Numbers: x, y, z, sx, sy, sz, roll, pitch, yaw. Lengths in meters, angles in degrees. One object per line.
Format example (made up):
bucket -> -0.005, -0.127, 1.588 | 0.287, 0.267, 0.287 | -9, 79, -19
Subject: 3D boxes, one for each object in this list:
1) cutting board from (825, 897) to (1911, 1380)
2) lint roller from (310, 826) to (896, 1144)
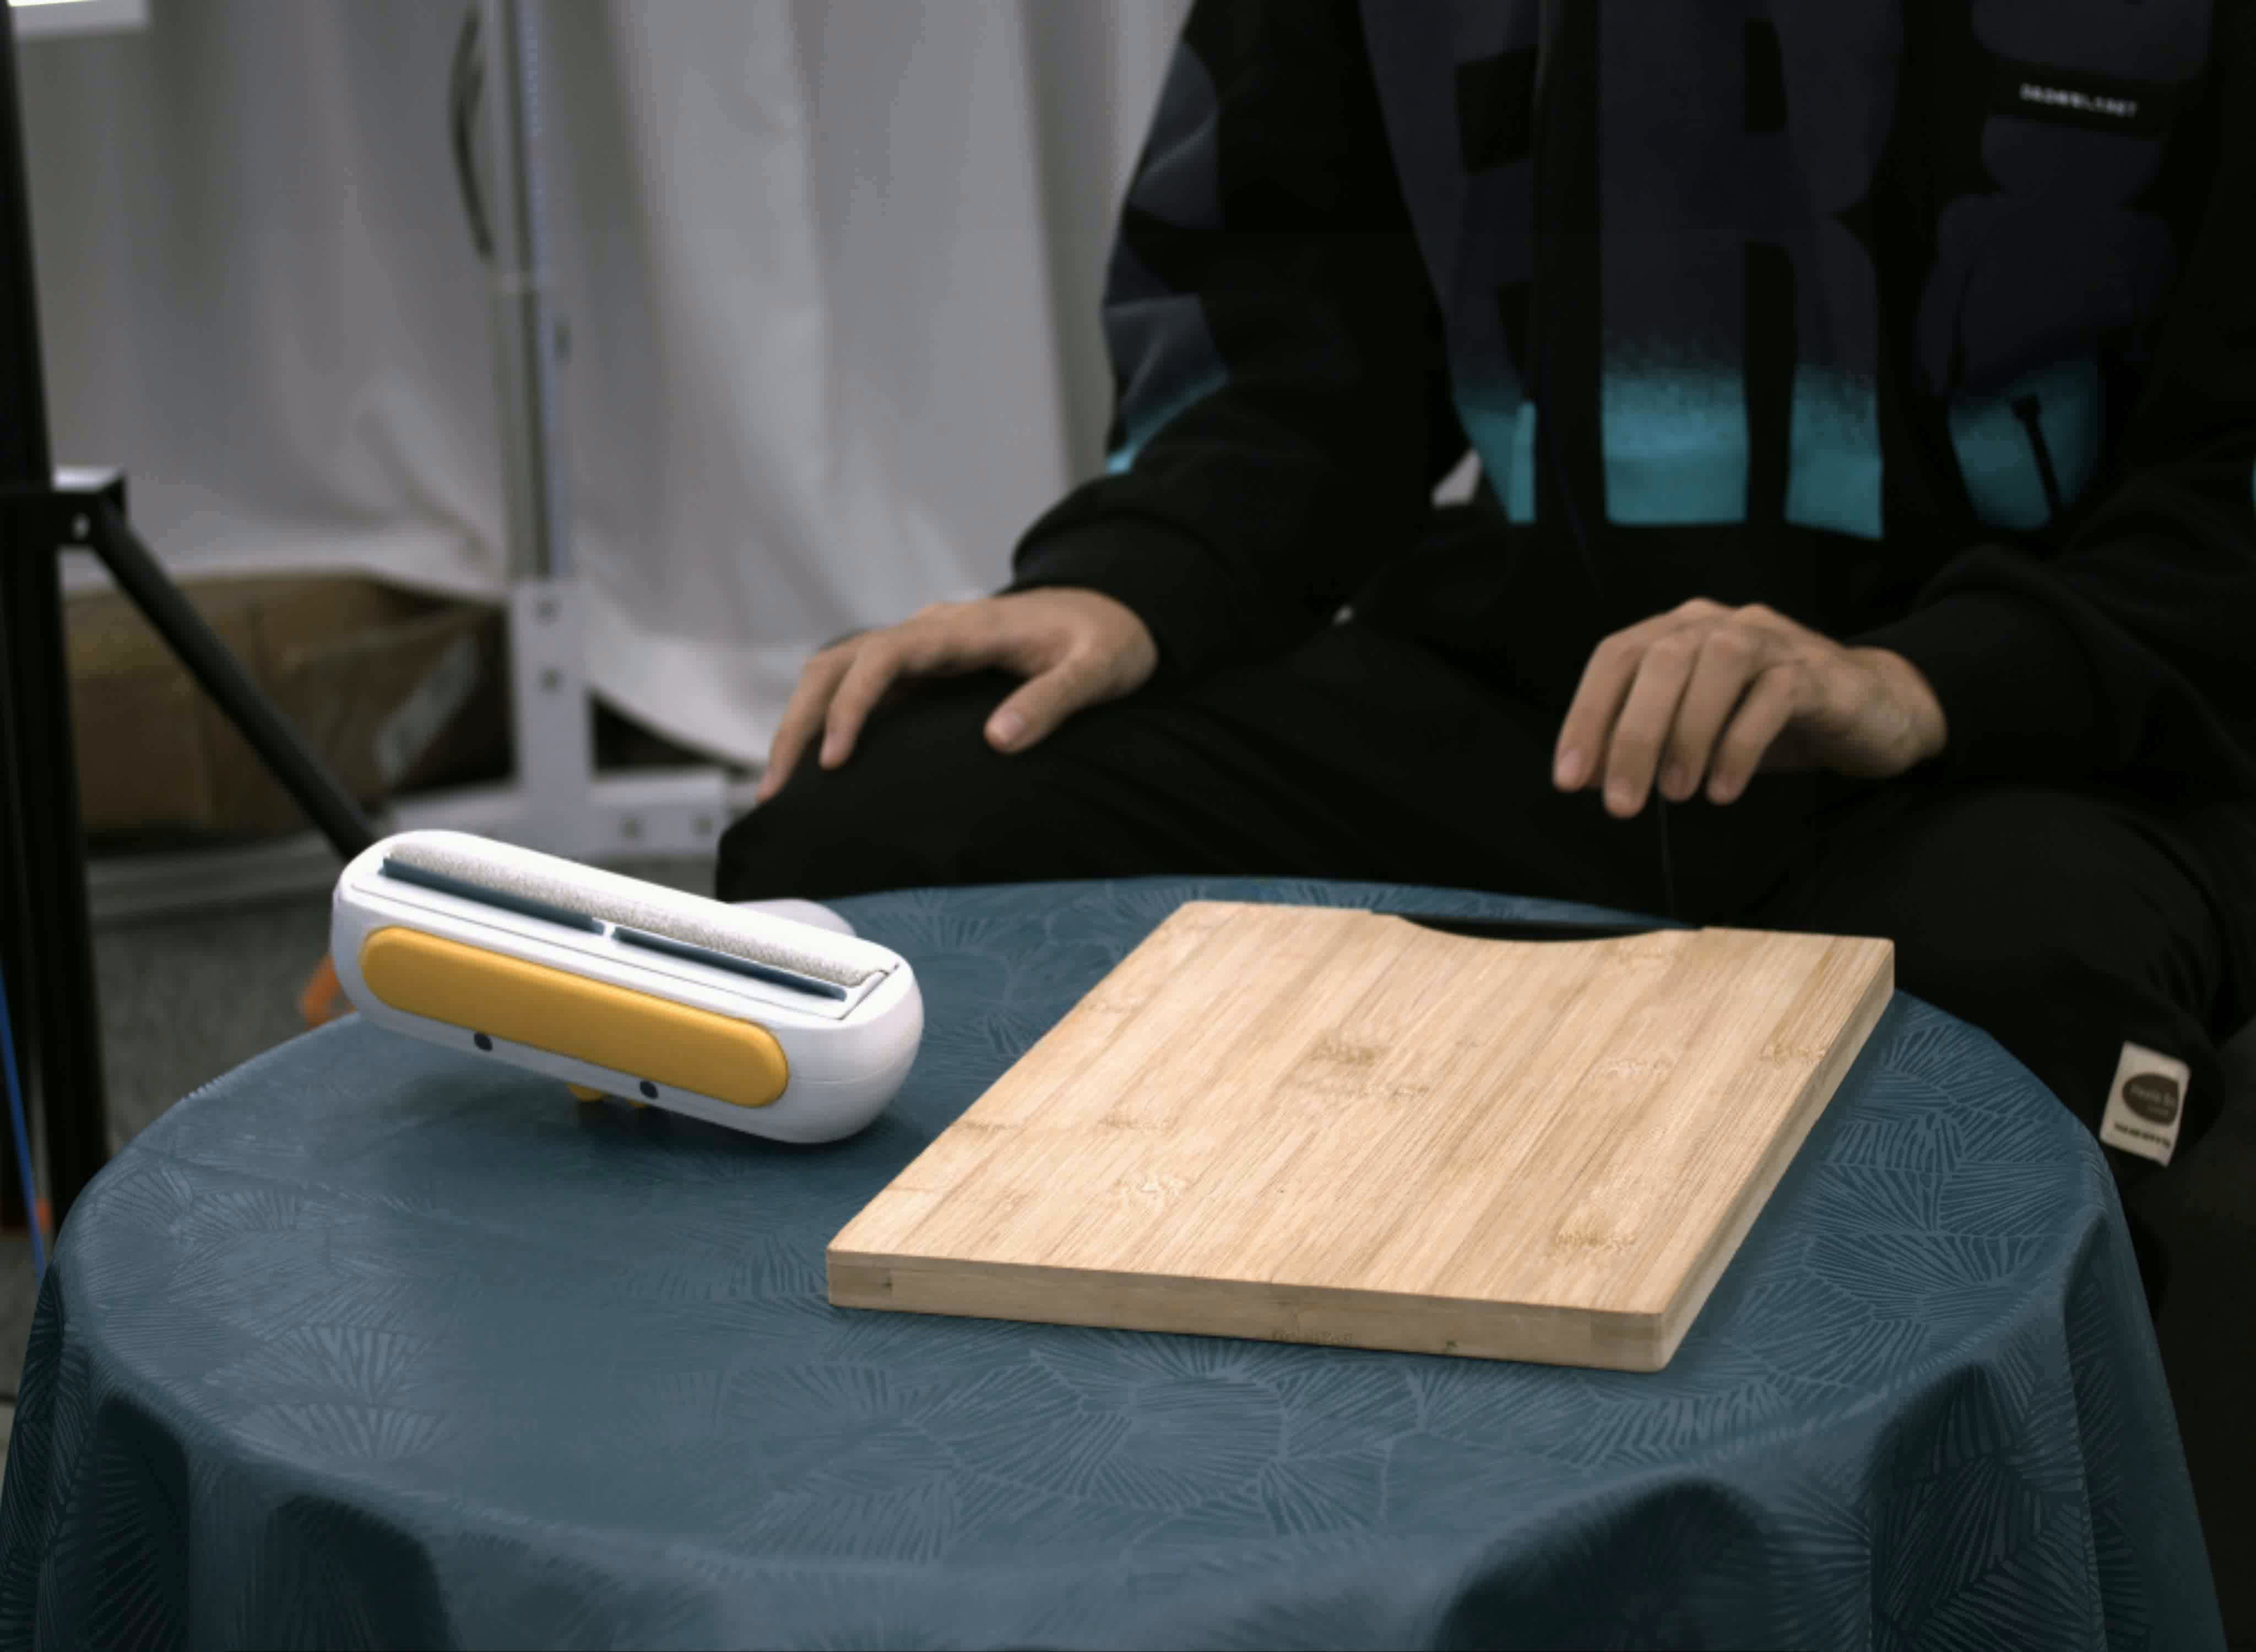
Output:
cutting board -> 0.083, 0.086, 1.594 | 0.253, 0.023, 0.345 | 3, 17, 18
lint roller -> -0.137, 0.041, 1.697 | 0.196, 0.074, 0.189 | 11, 18, 25
